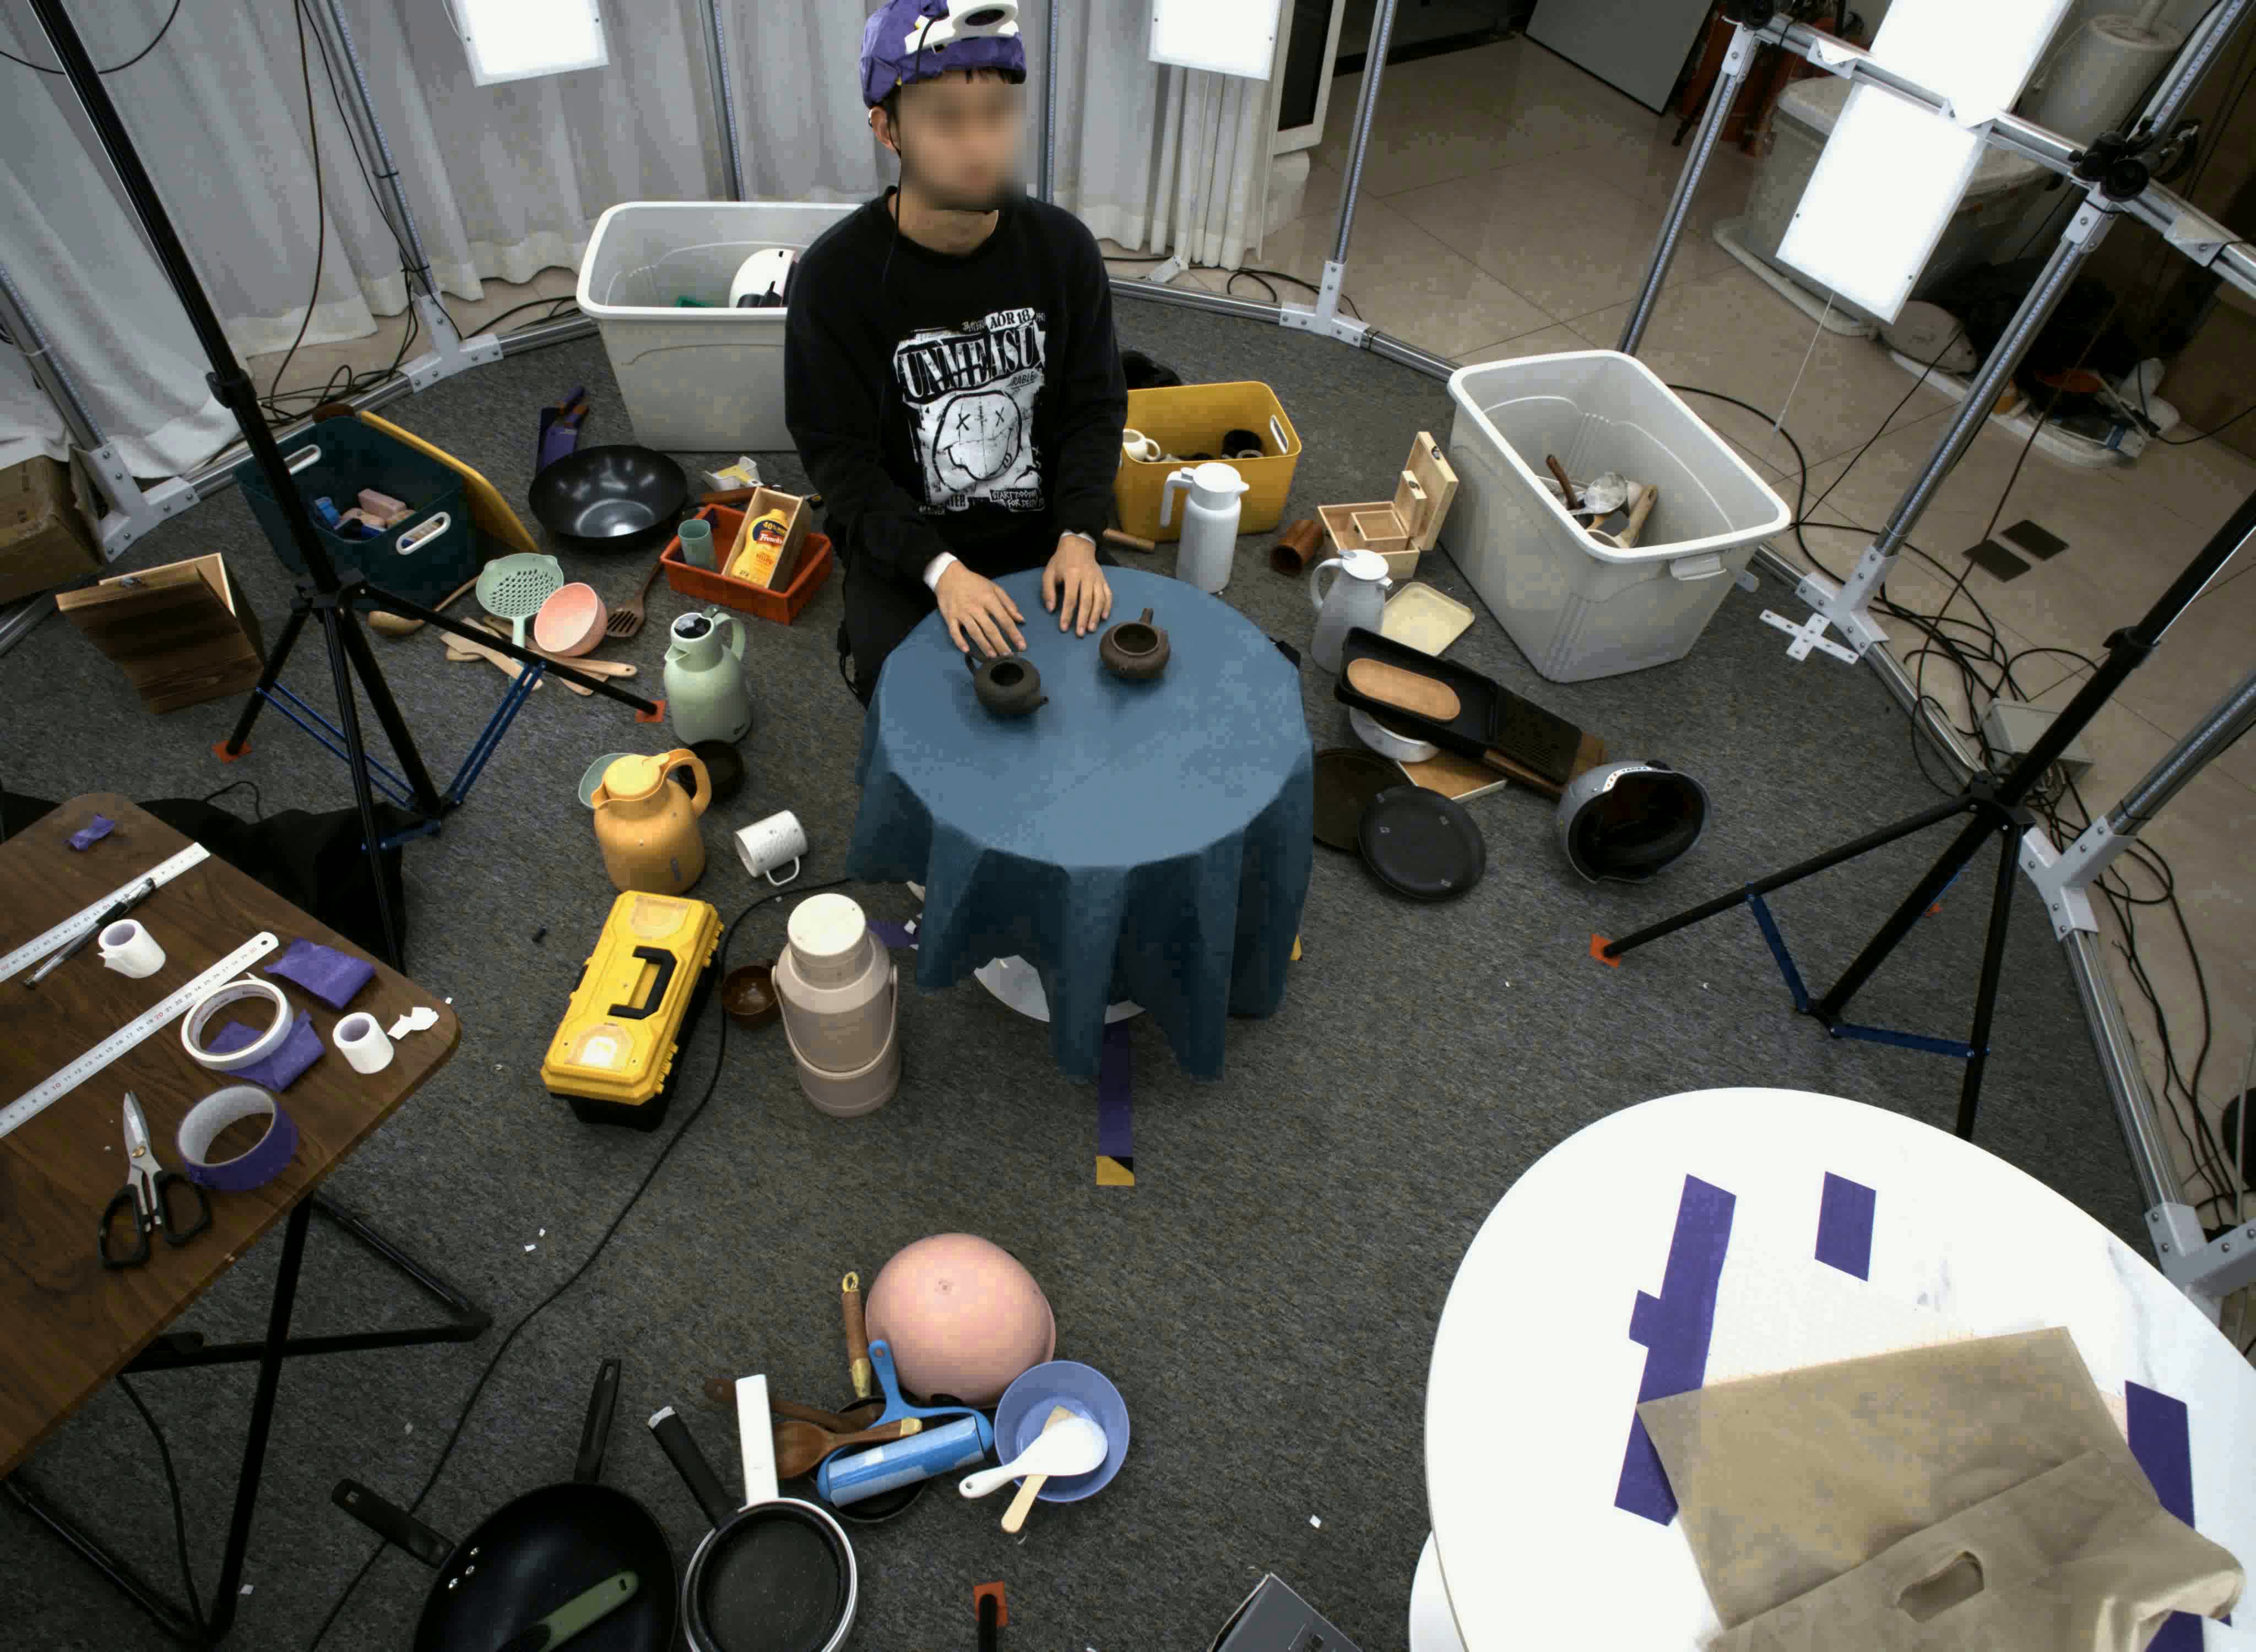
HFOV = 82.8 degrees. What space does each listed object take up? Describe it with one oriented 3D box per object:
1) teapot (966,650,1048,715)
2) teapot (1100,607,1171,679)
[{"bbox_3d":[-0.170,-0.197,1.789,0.156,0.063,0.093,35,54,23],"label":"teapot"},{"bbox_3d":[0.012,-0.260,1.860,0.102,0.052,0.157,11,50,4],"label":"teapot"}]
